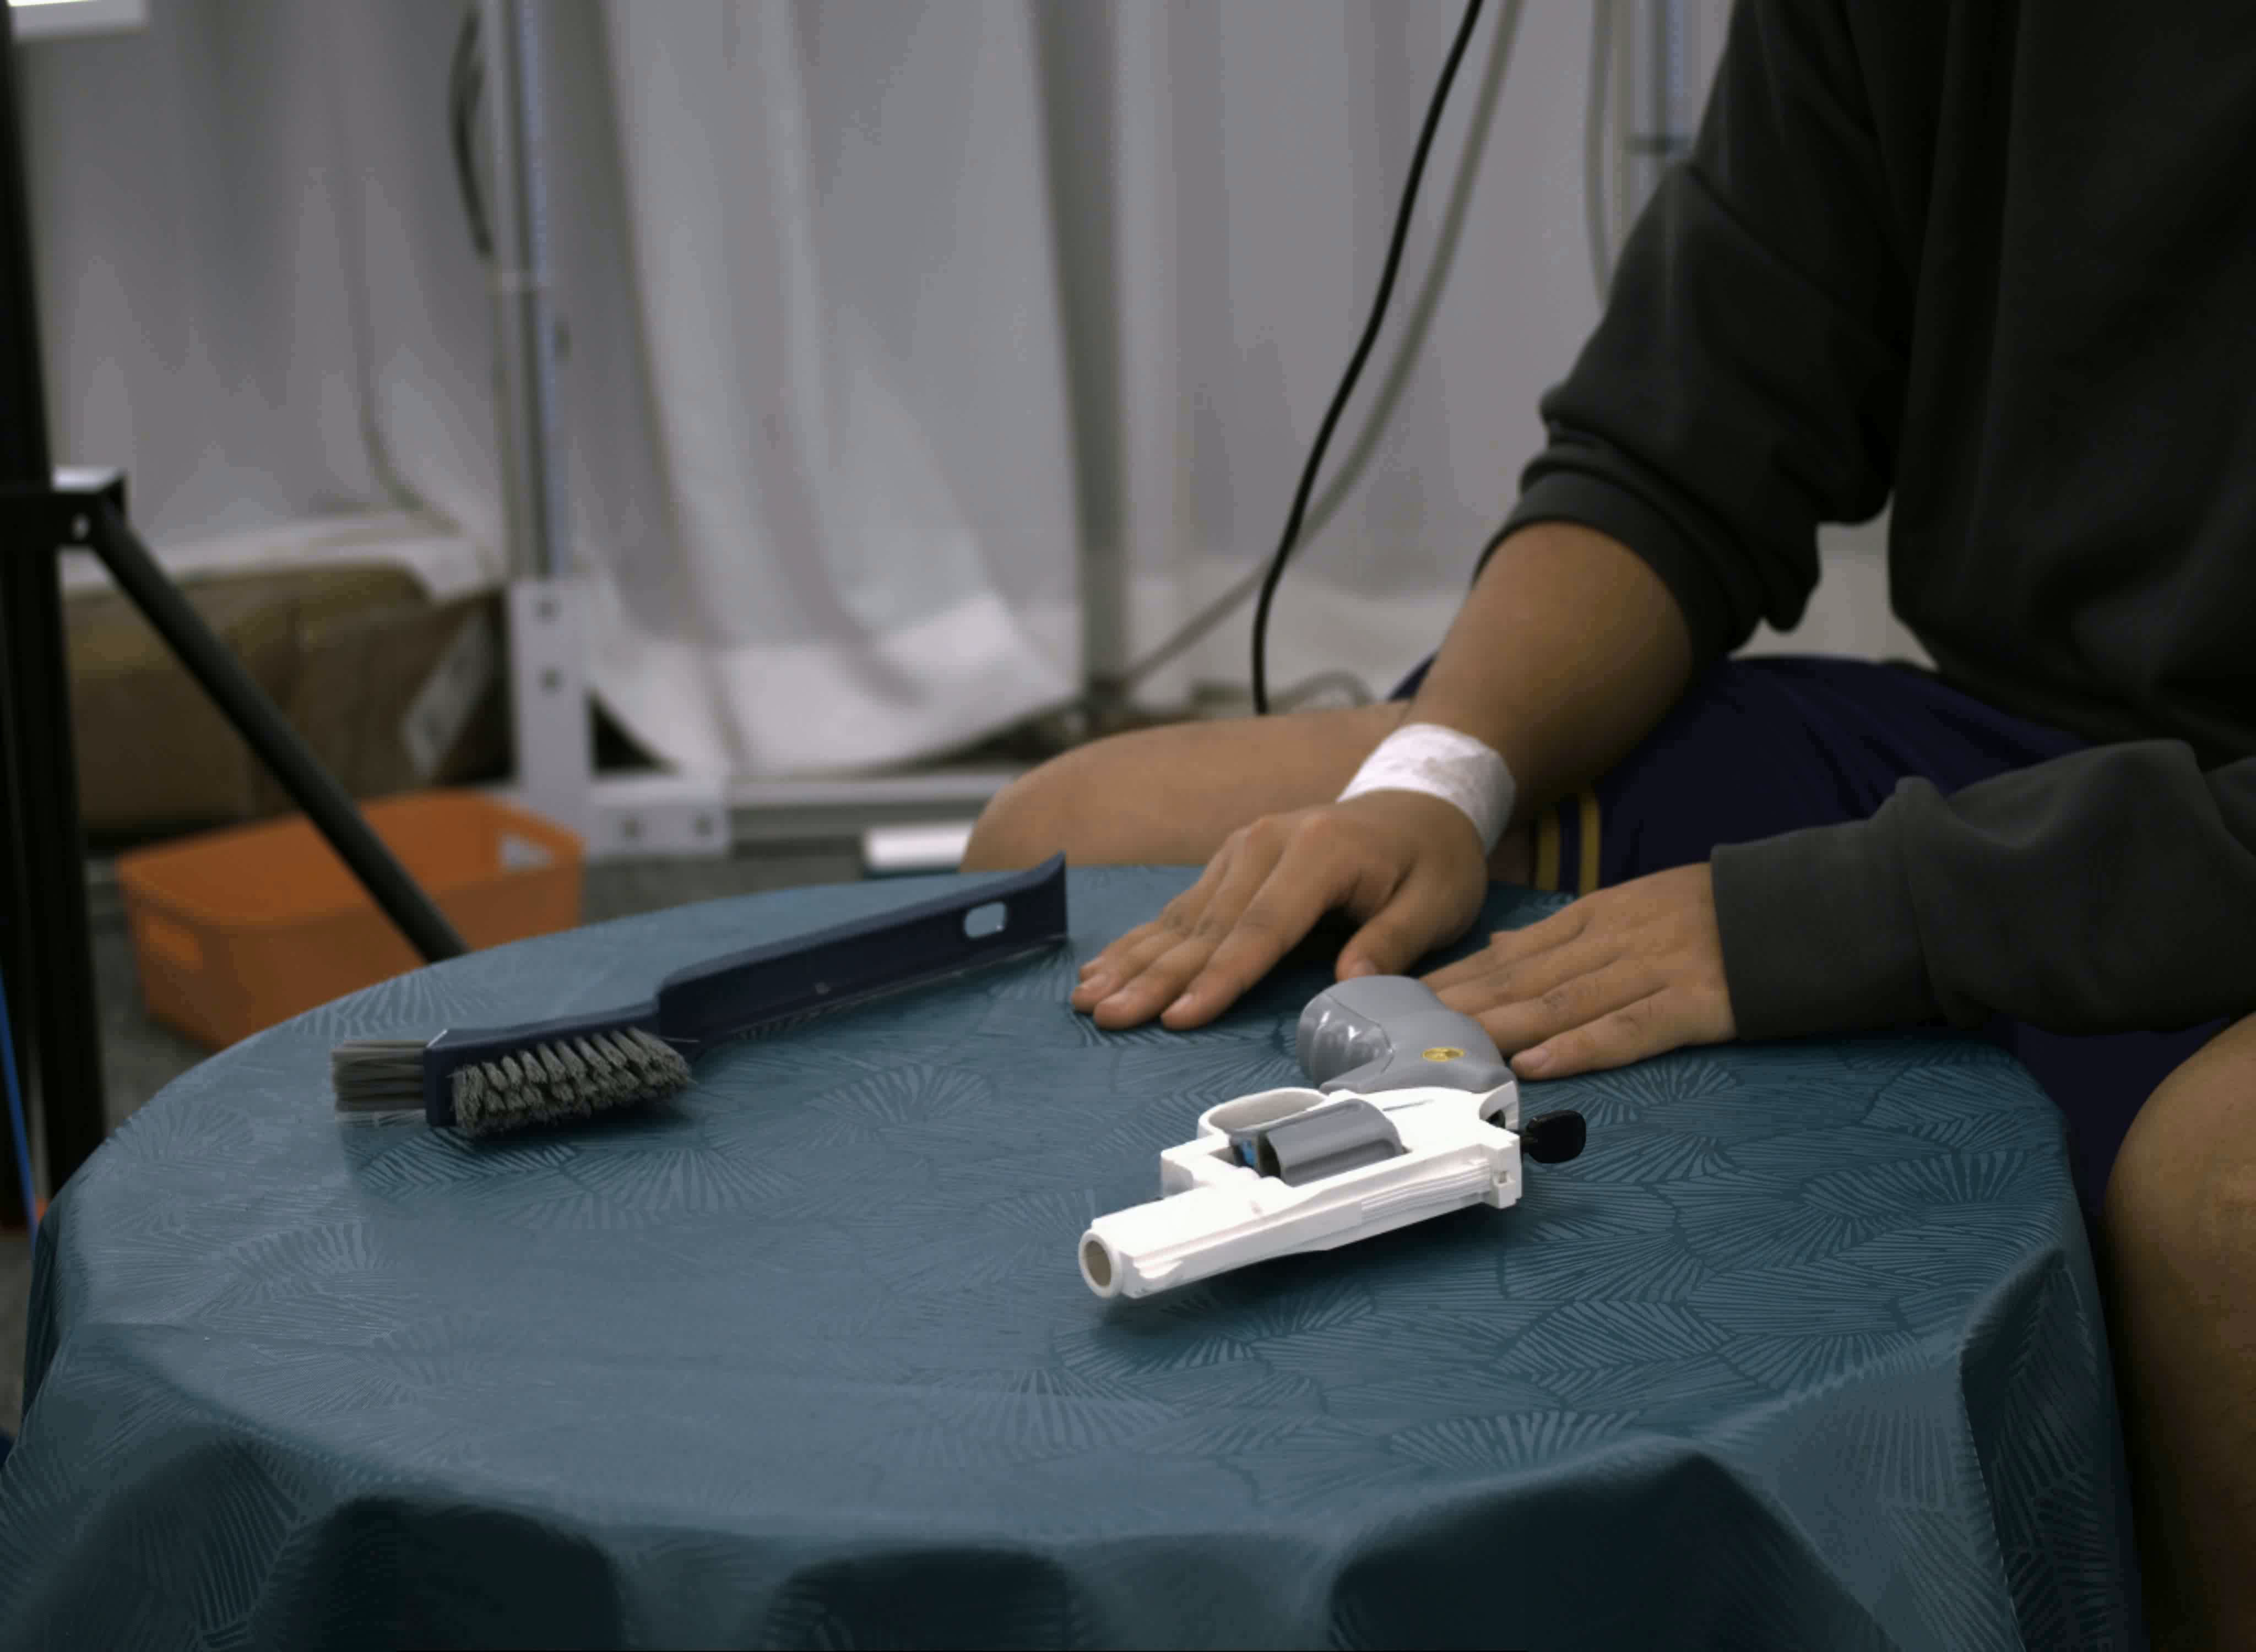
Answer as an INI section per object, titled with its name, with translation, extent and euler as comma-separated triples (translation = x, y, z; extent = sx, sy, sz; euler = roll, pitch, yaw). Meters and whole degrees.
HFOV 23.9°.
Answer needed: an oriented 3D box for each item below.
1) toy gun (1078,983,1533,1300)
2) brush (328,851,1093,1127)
[toy gun]
translation = 0.046, 0.092, 1.542
extent = 0.204, 0.039, 0.145
euler = -13, 18, -33
[brush]
translation = -0.125, 0.051, 1.725
extent = 0.098, 0.033, 0.267
euler = 12, 22, 42
